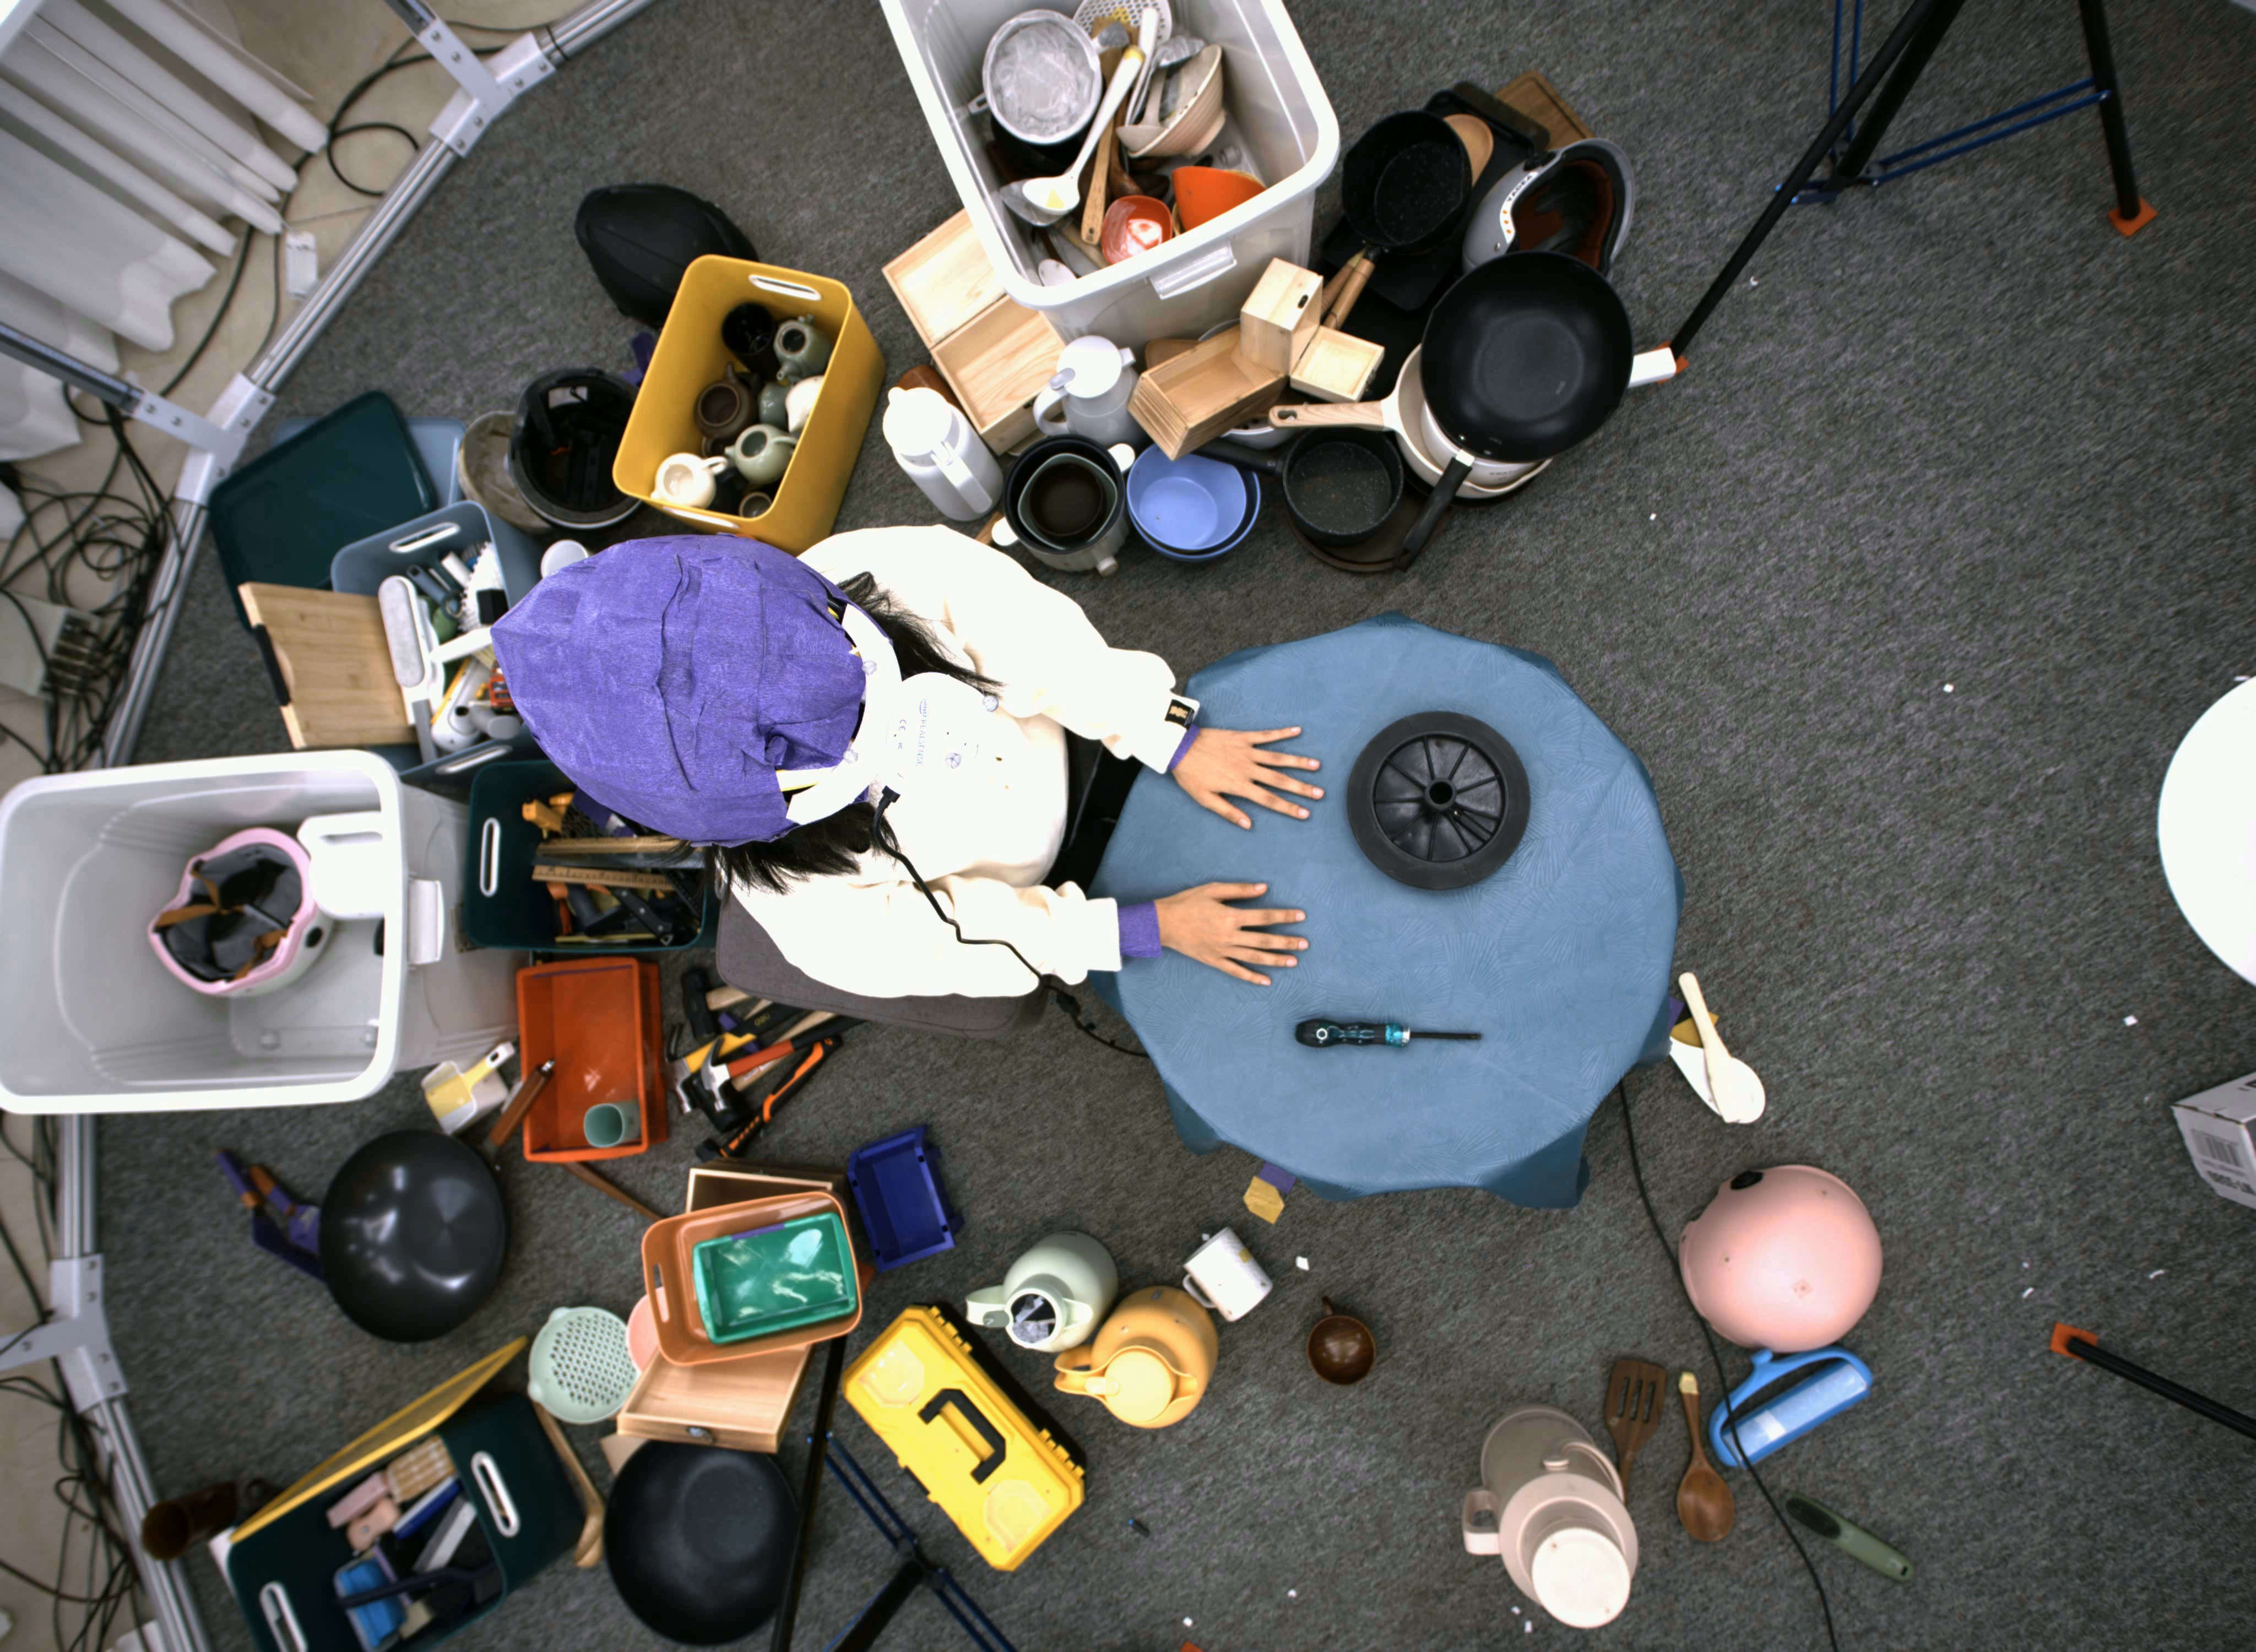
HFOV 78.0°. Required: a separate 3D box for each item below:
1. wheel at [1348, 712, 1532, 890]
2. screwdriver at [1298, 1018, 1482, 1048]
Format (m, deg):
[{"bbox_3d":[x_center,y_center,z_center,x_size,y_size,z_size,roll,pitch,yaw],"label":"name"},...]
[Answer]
[{"bbox_3d":[0.323,-0.030,1.418,0.190,0.079,0.187,16,90,8],"label":"wheel"},{"bbox_3d":[0.273,0.217,1.441,0.190,0.034,0.033,1,85,5],"label":"screwdriver"}]
